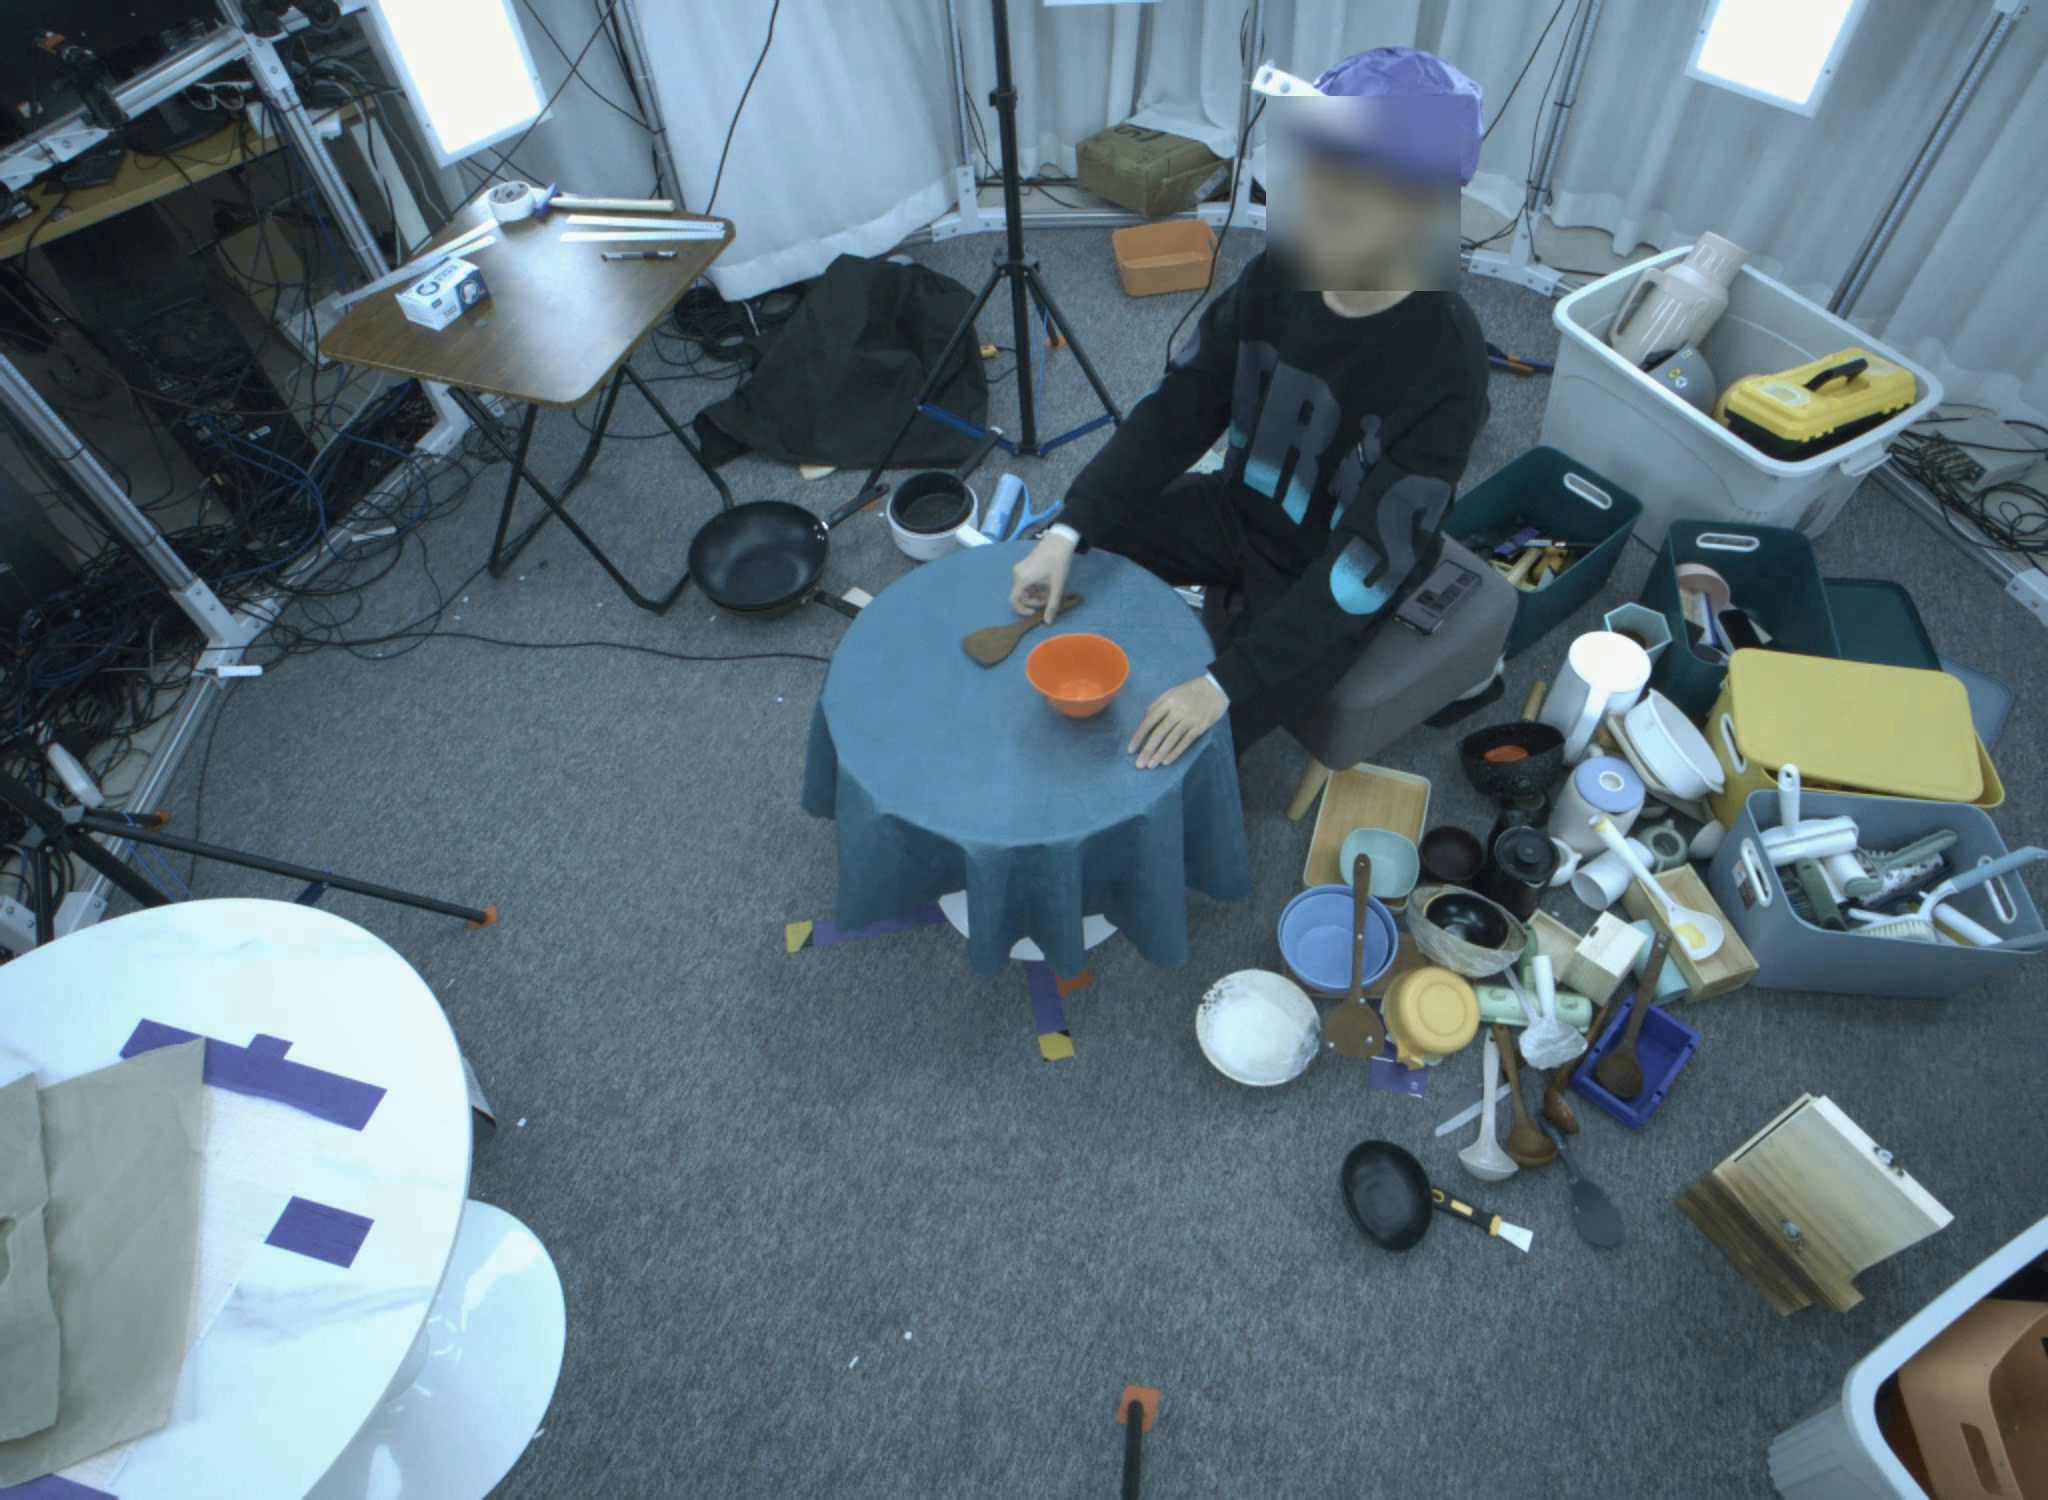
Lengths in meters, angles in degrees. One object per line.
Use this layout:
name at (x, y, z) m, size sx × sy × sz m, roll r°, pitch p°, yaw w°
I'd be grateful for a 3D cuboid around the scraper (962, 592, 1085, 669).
scraper at (0.005, -0.194, 1.928) m, size 0.213 × 0.011 × 0.074 m, roll -31°, pitch 61°, yaw -18°

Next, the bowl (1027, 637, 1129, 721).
bowl at (0.080, -0.090, 1.798) m, size 0.148 × 0.106 × 0.146 m, roll -1°, pitch 53°, yaw 2°
